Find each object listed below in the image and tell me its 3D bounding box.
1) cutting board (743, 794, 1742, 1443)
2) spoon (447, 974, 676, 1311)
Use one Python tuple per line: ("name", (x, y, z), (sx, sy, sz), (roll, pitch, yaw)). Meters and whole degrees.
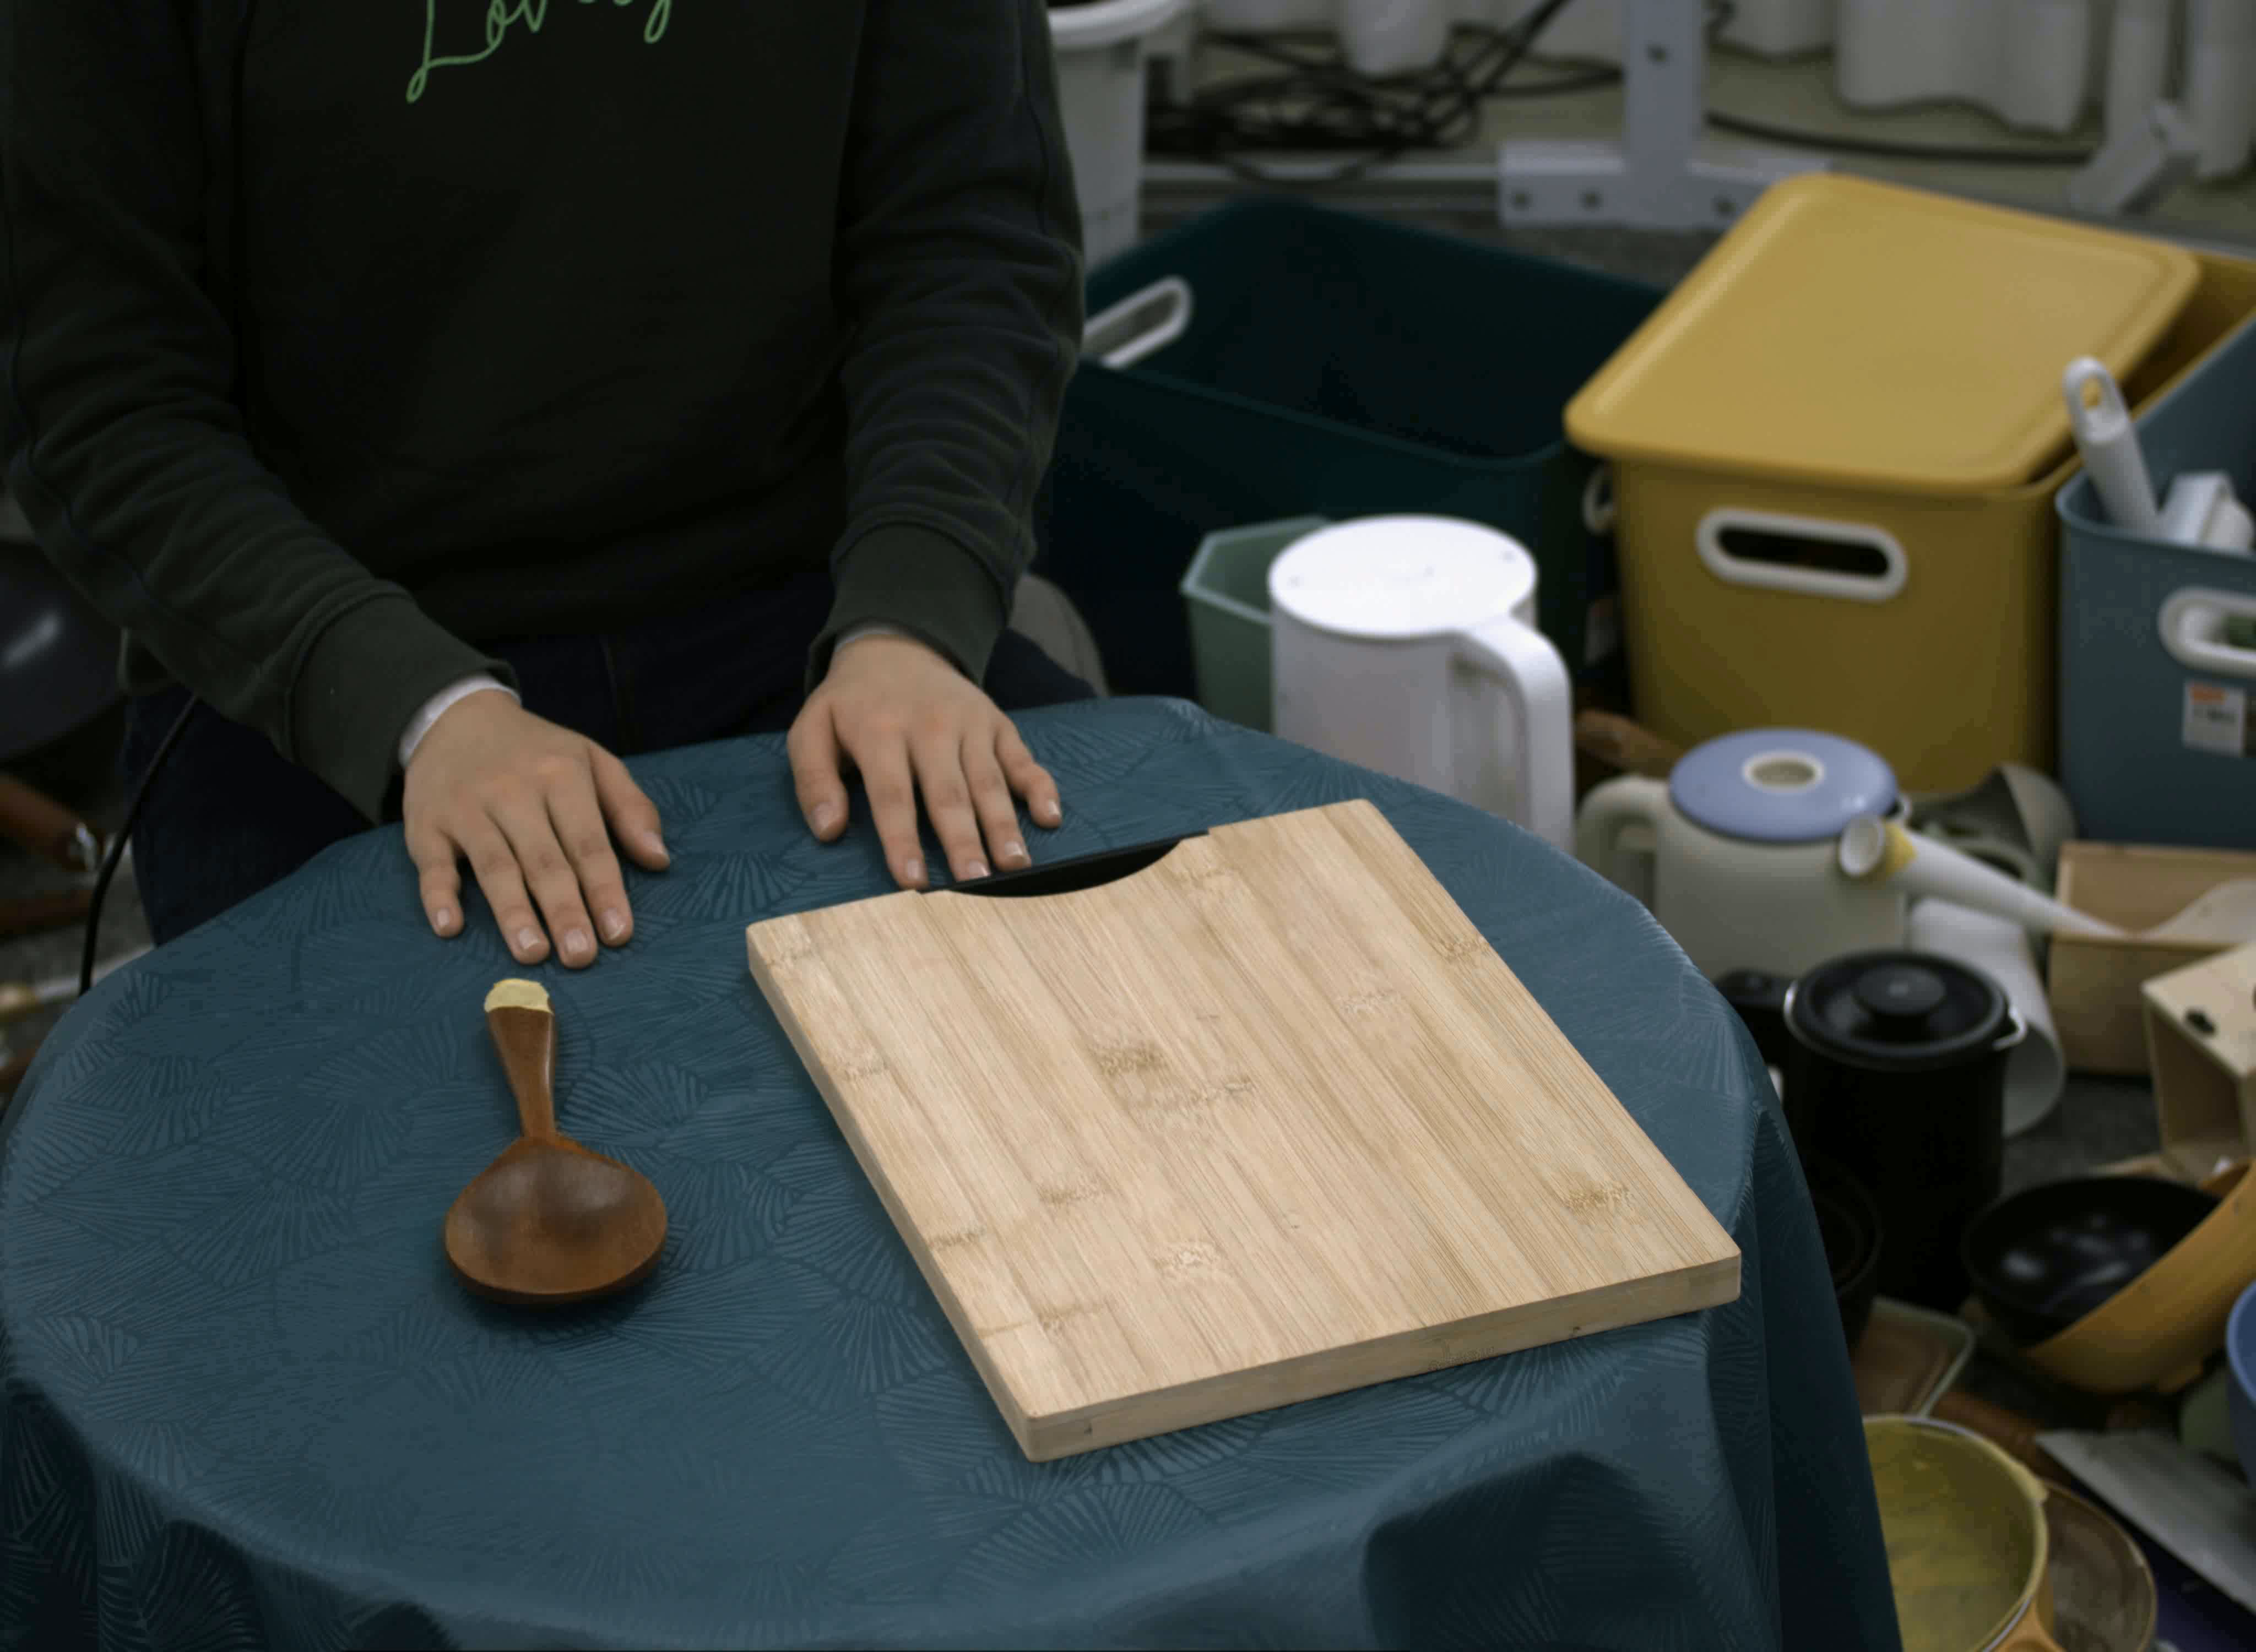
("cutting board", (0.028, 0.091, 1.900), (0.251, 0.023, 0.351), (-11, 28, -16))
("spoon", (-0.196, 0.107, 1.890), (0.075, 0.017, 0.218), (-8, 28, -7))
